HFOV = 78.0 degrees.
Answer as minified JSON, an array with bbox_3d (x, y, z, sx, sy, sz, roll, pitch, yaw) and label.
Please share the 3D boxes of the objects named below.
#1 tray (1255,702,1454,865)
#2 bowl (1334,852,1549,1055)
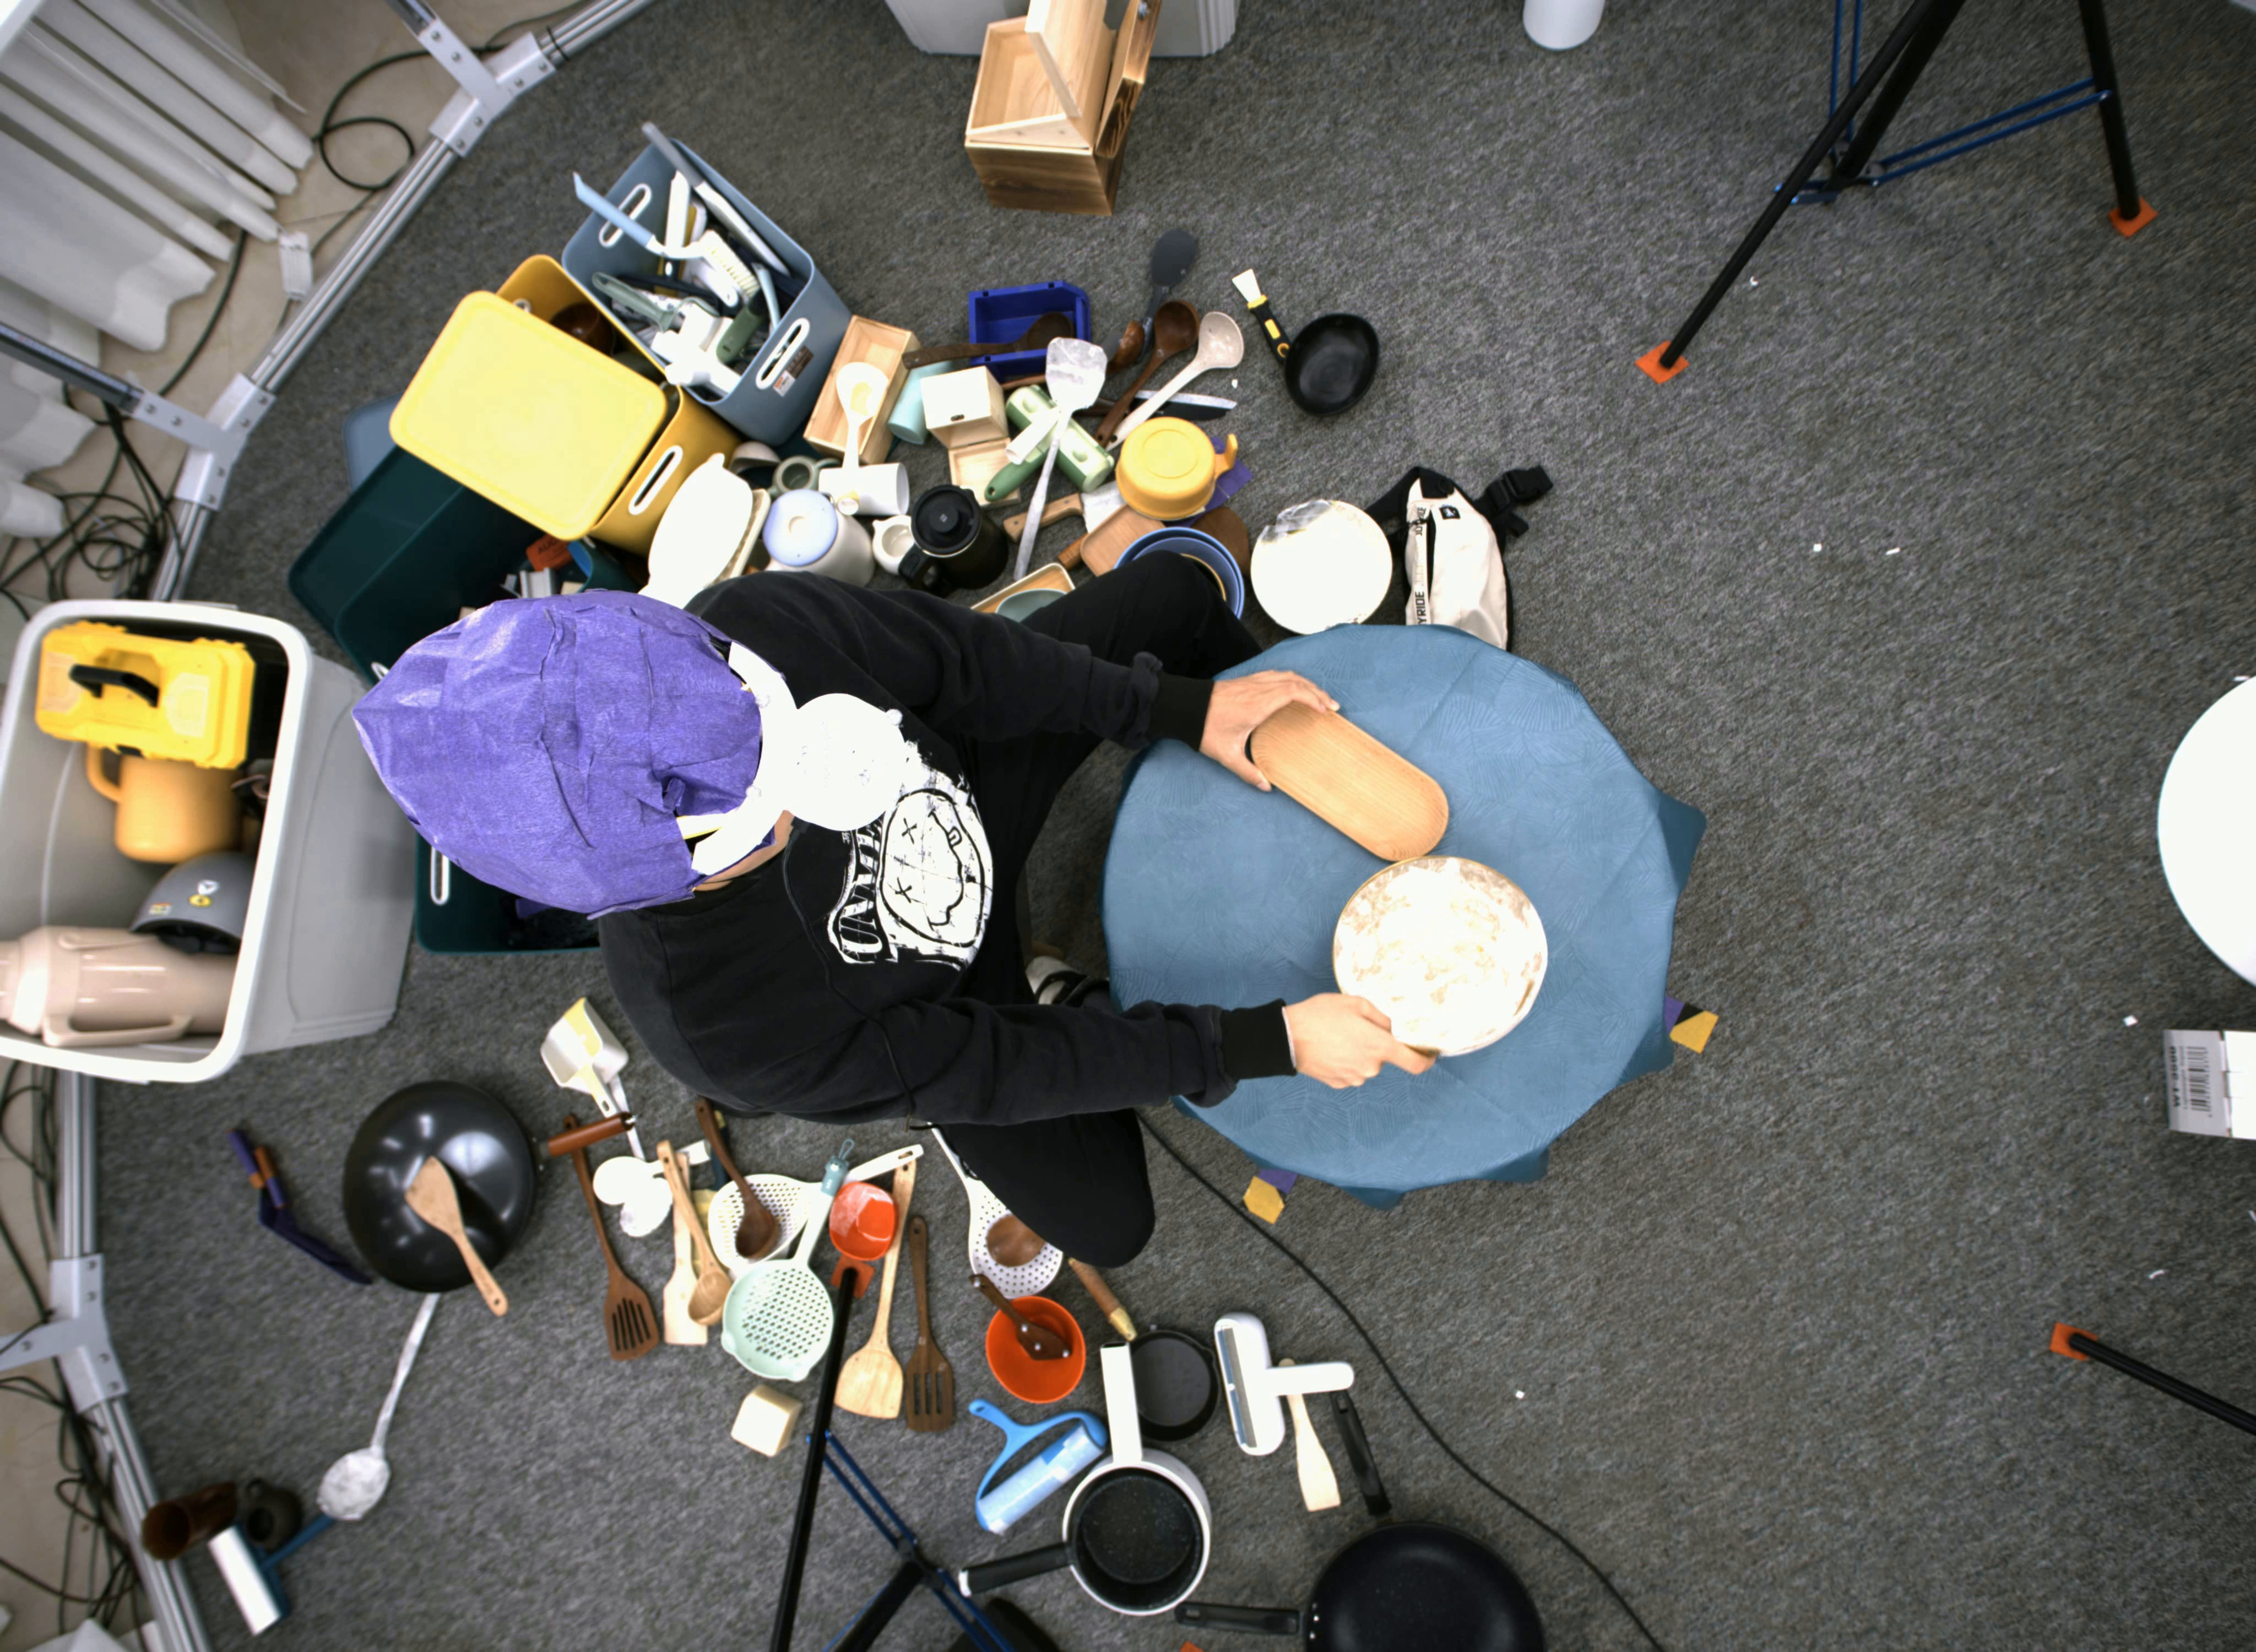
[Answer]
[{"bbox_3d":[0.239,-0.047,1.466,0.231,0.020,0.102,34,96,6],"label":"tray"},{"bbox_3d":[0.306,0.133,1.354,0.216,0.096,0.210,-8,62,15],"label":"bowl"}]
